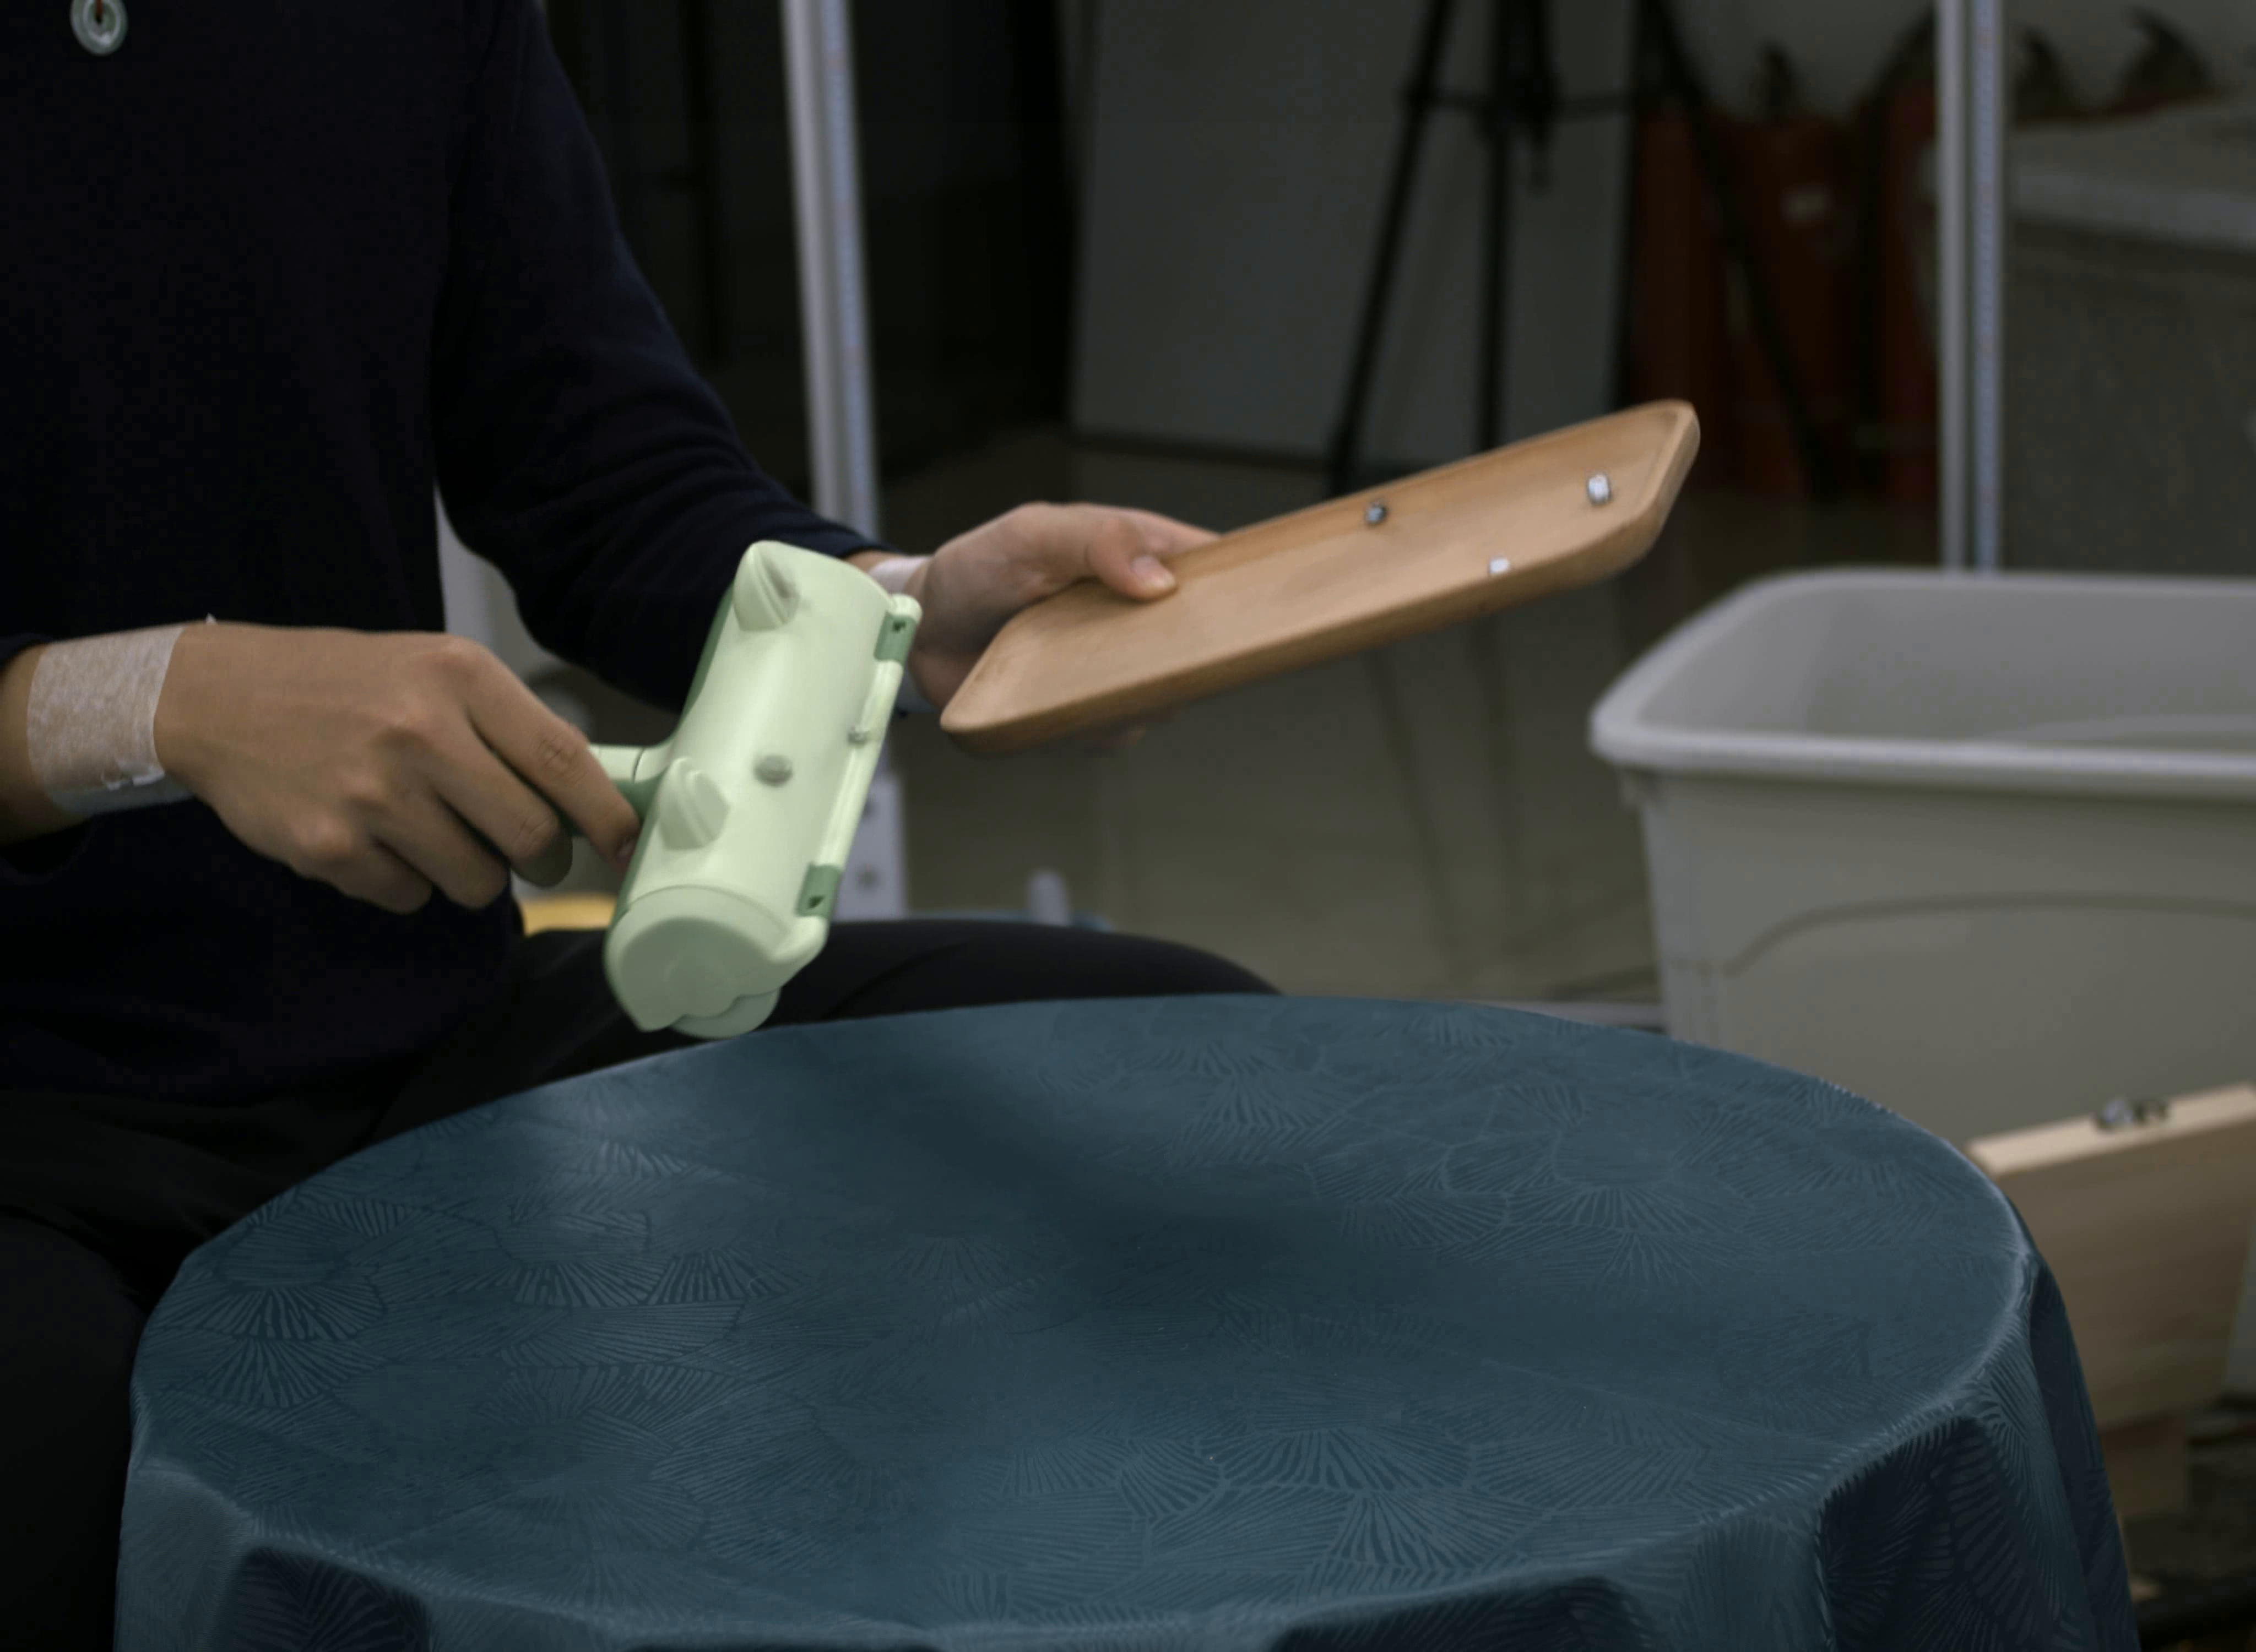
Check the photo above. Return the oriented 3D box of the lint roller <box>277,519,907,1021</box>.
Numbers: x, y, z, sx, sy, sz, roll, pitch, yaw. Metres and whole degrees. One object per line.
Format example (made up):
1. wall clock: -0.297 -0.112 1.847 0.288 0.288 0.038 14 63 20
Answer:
1. lint roller: -0.167 -0.031 1.635 0.181 0.083 0.199 7 35 3

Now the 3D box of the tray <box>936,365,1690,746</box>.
1. tray: 0.059 -0.084 1.714 0.251 0.023 0.130 -18 16 25
